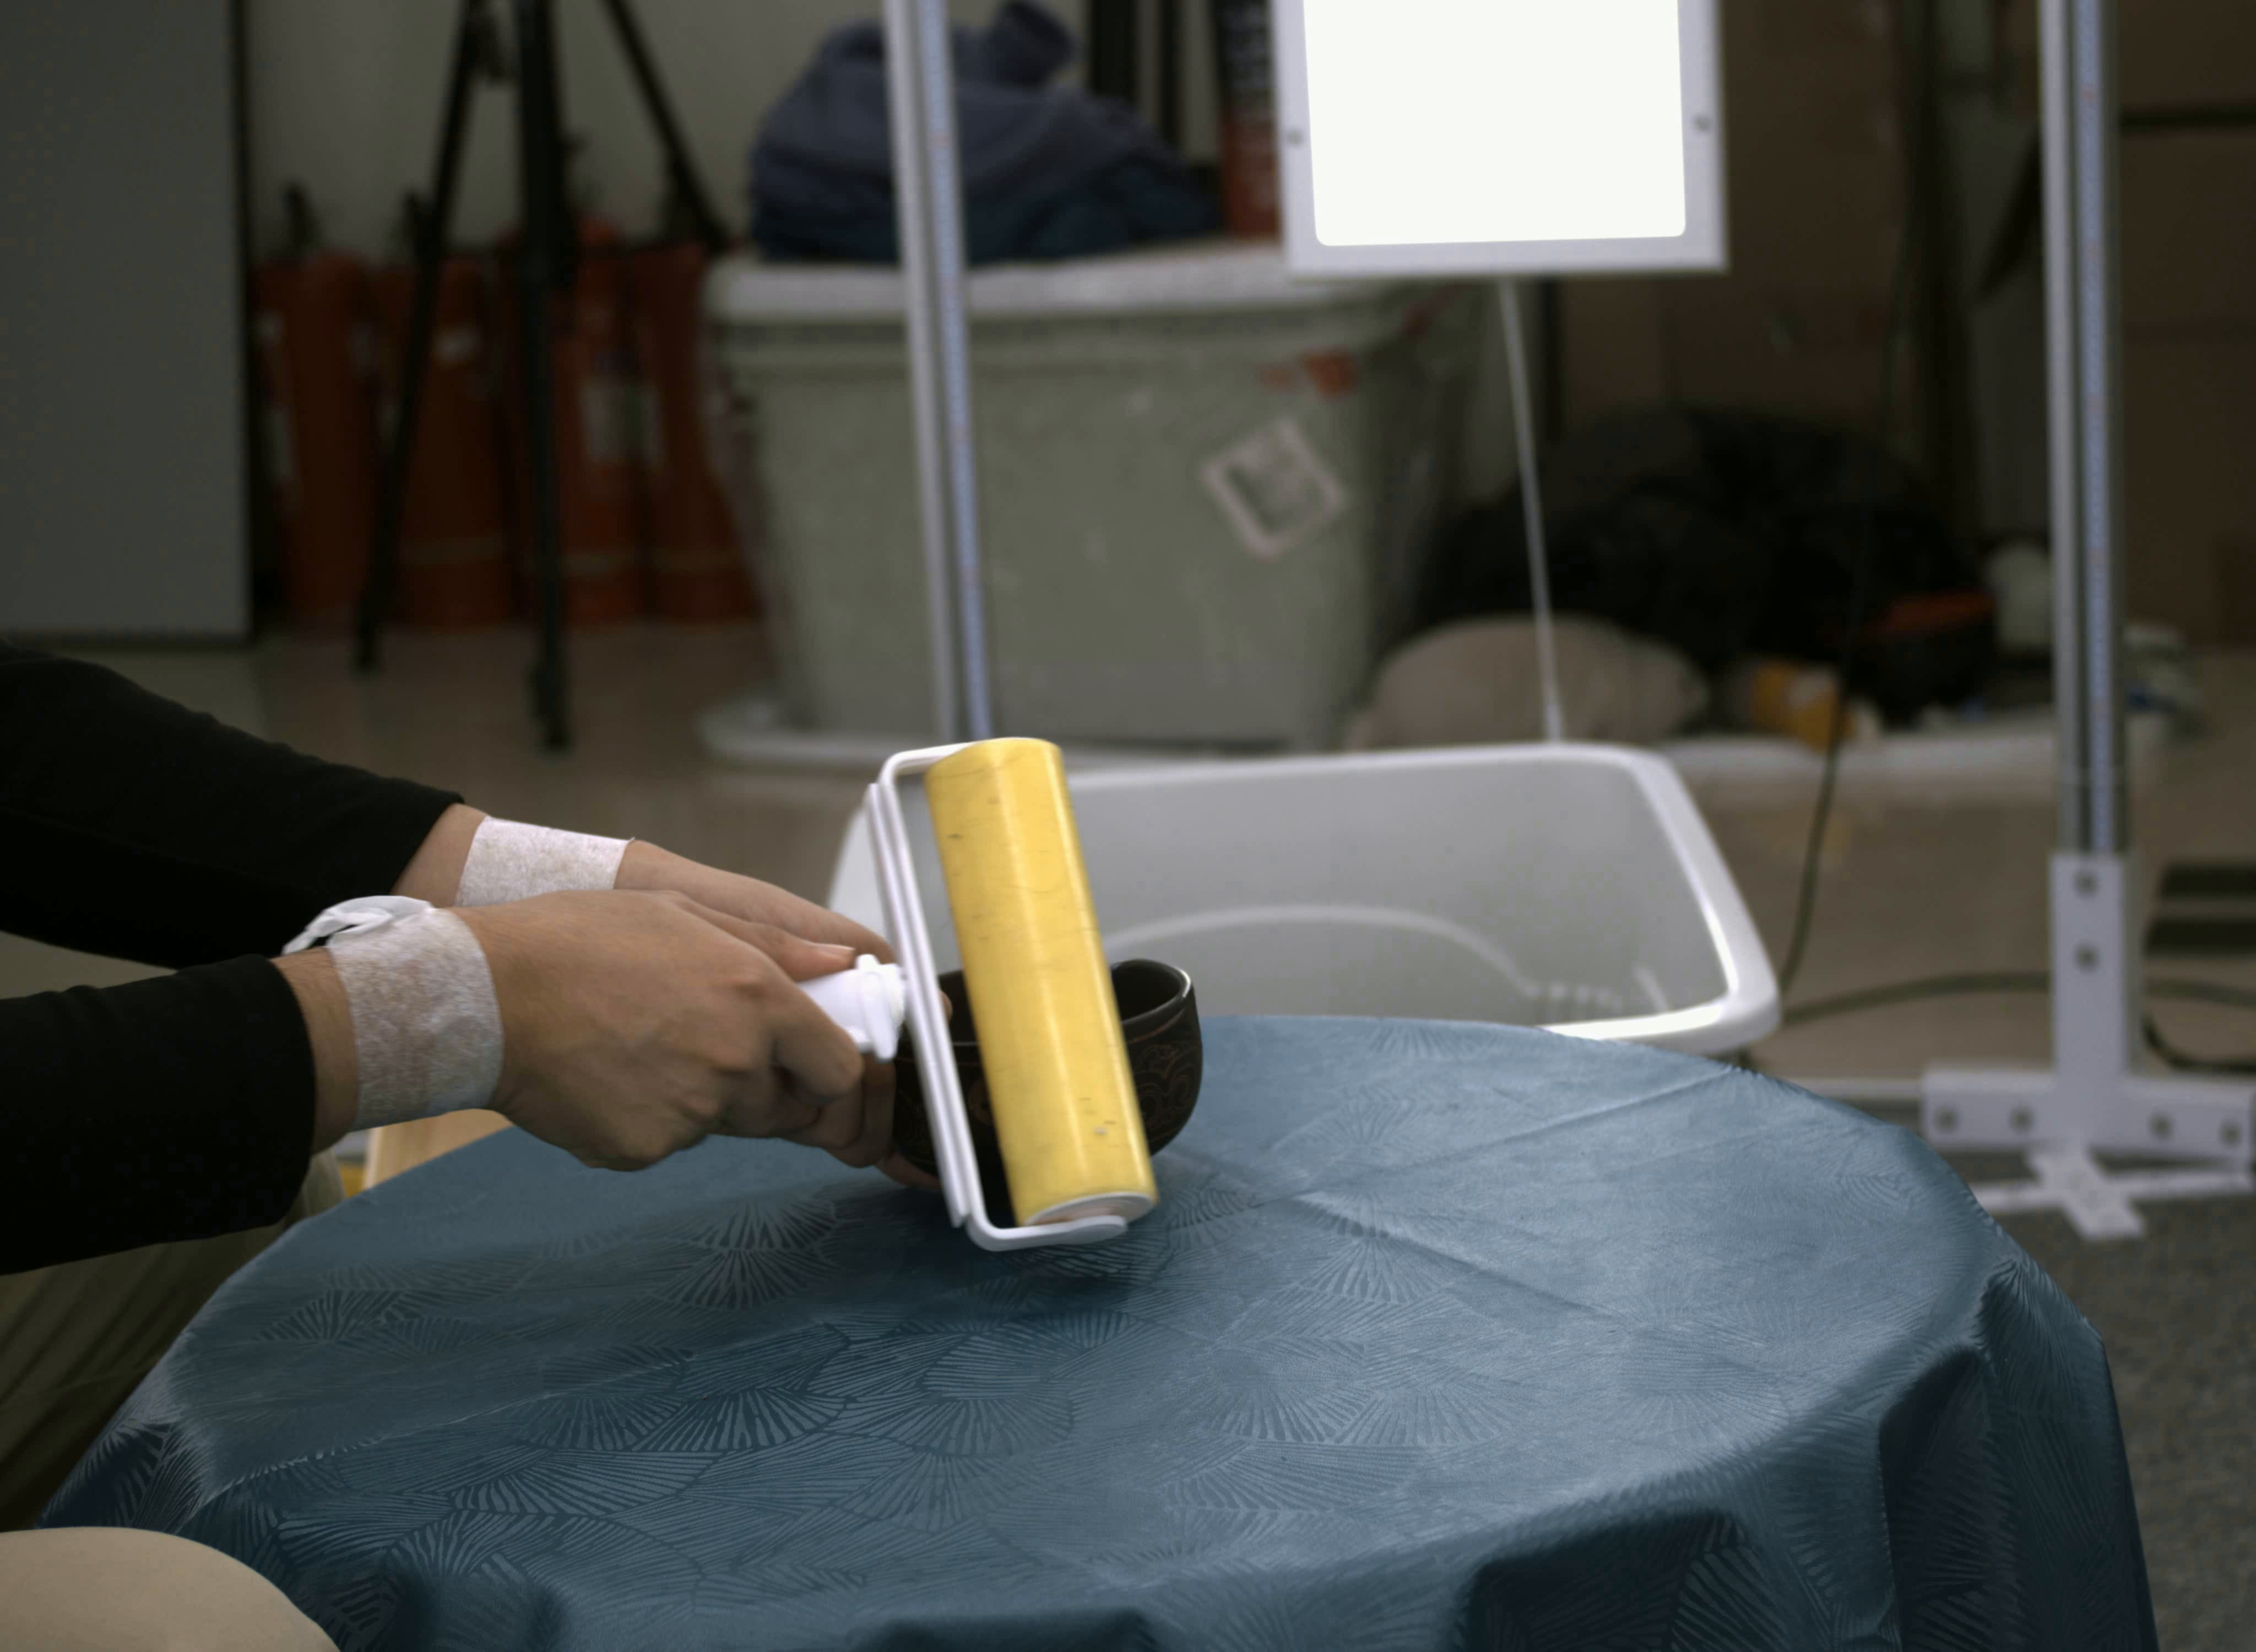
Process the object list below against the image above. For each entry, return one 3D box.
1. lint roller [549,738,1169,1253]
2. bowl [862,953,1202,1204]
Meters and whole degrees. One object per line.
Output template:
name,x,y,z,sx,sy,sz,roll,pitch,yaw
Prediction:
lint roller,-0.092,0.061,1.794,0.188,0.175,0.052,-5,-20,-25
bowl,-0.032,0.091,1.898,0.118,0.070,0.118,-7,12,0
